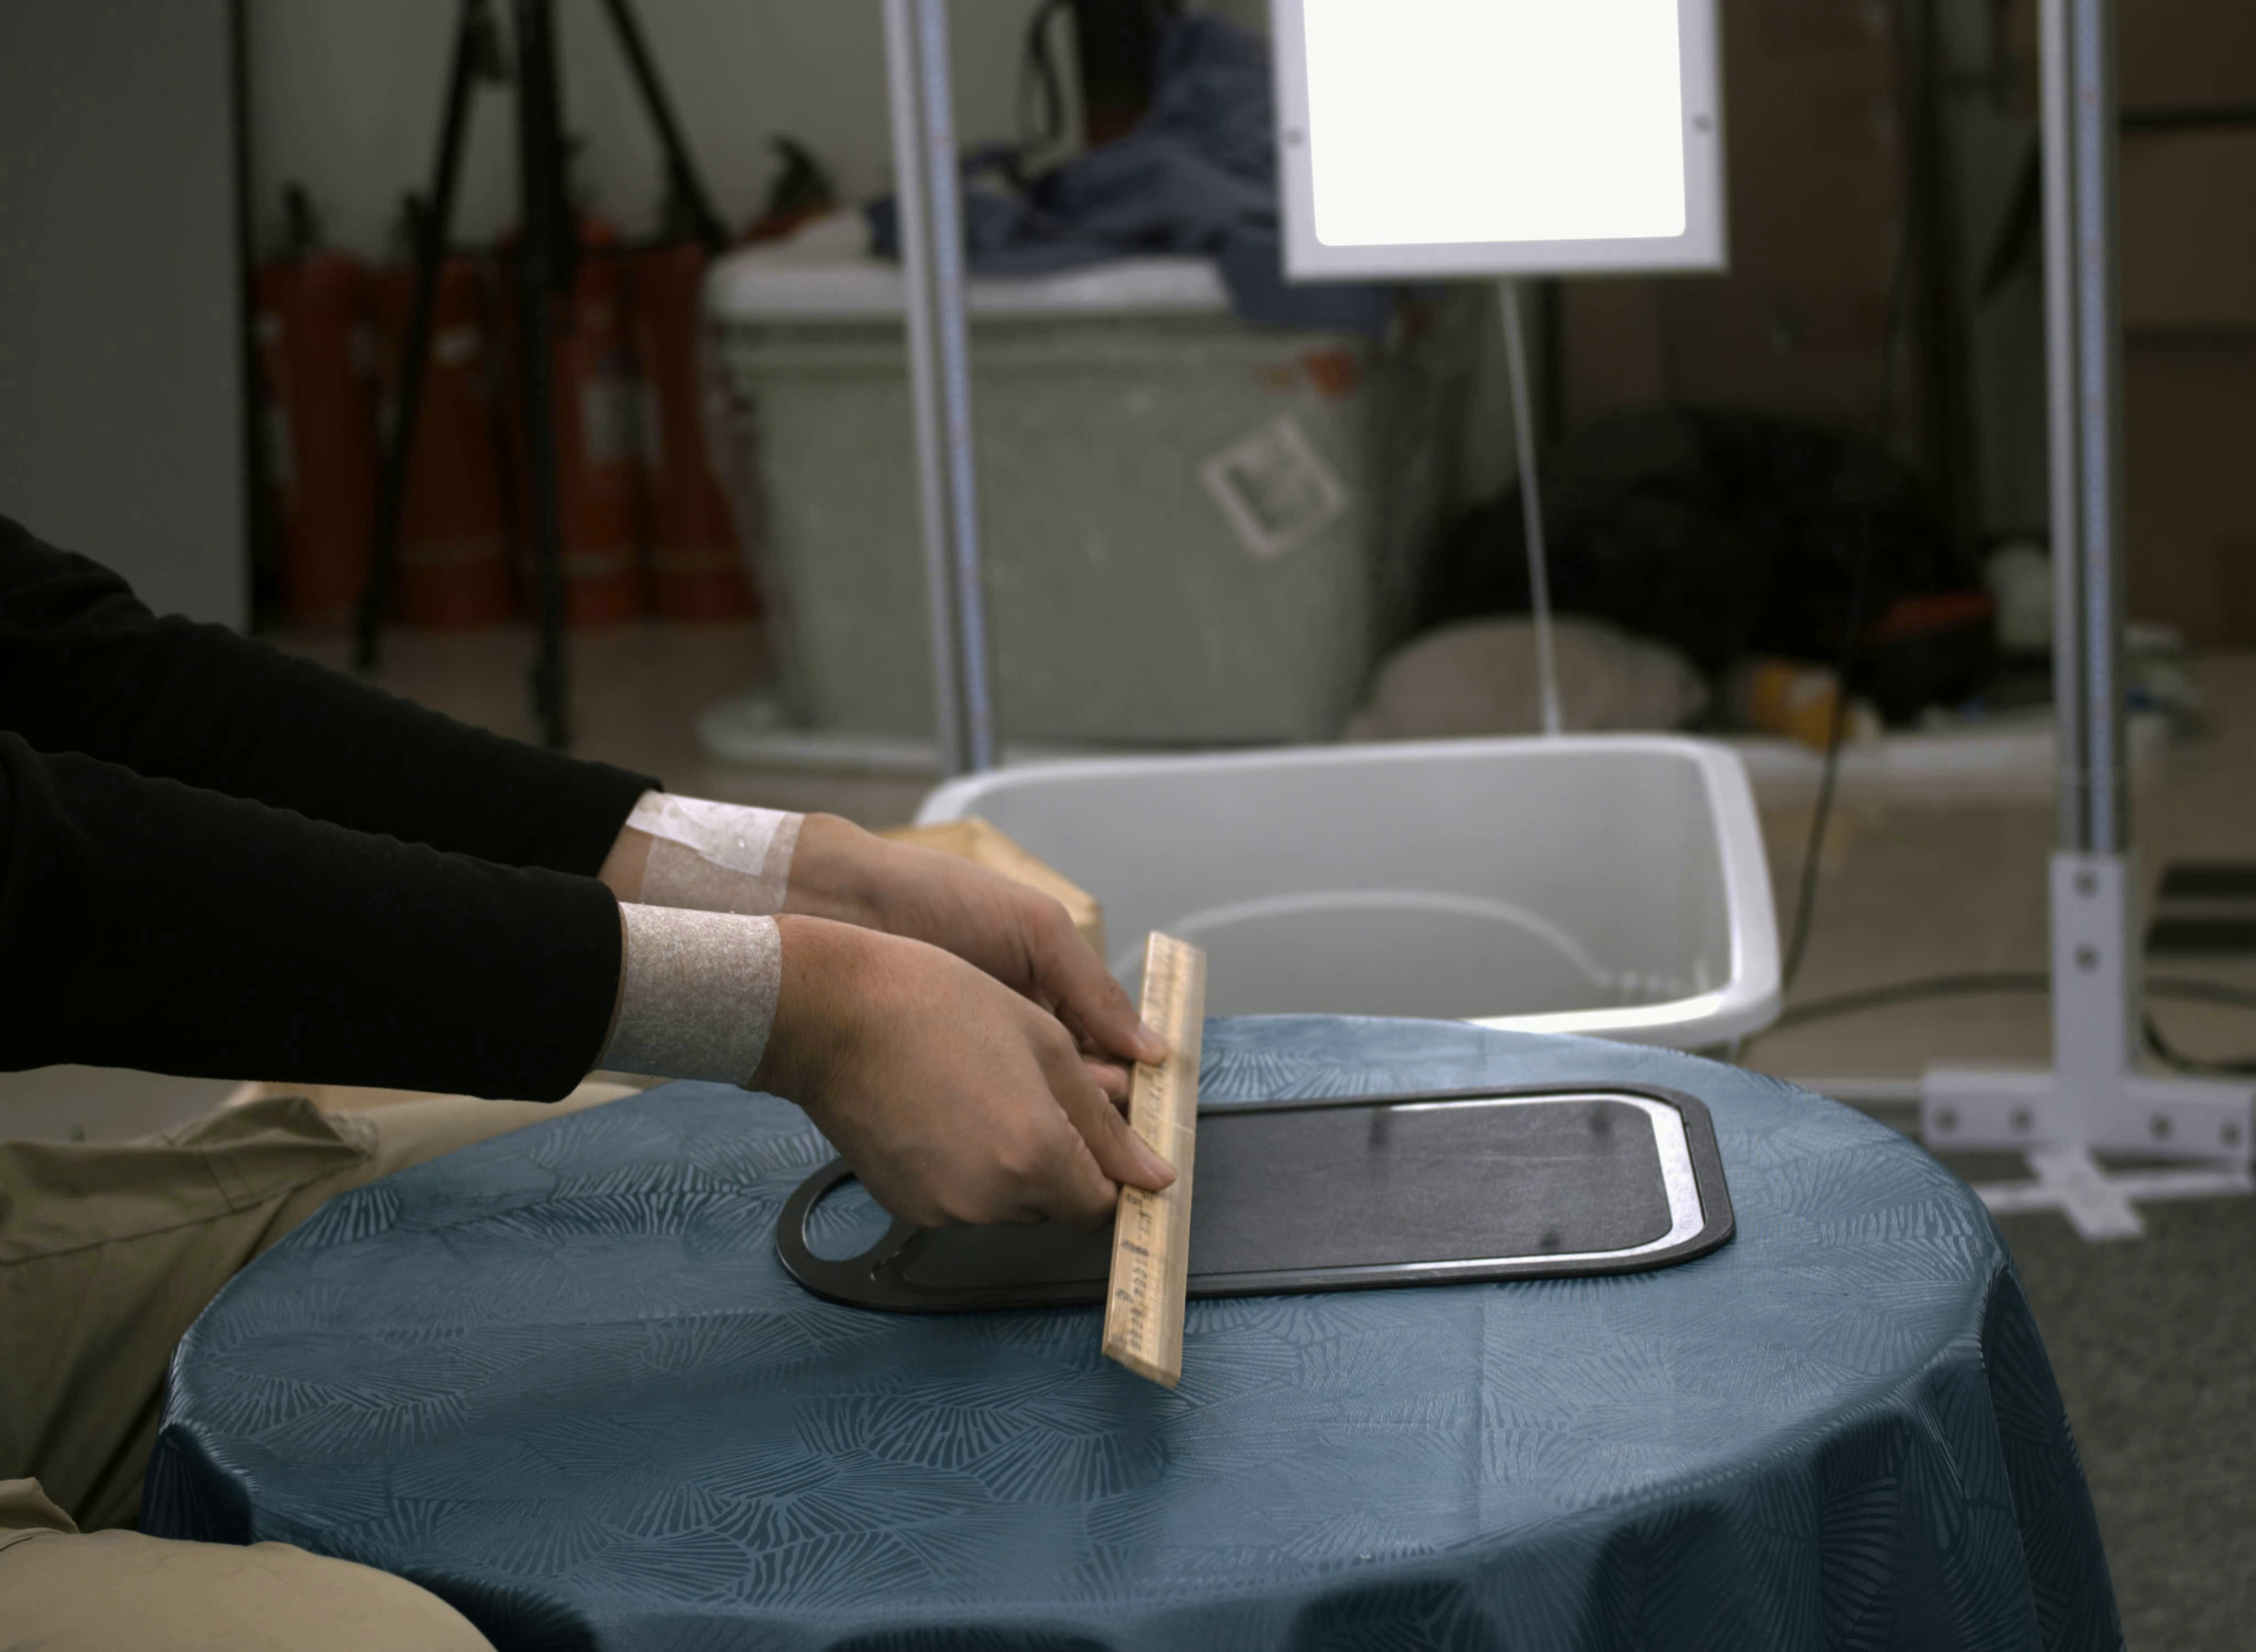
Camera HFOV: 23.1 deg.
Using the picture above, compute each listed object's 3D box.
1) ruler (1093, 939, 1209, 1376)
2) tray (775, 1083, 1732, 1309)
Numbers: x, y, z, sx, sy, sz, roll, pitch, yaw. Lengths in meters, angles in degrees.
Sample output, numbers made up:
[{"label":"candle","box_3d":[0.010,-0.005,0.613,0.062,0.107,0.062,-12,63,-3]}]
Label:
[{"label":"ruler","box_3d":[0.010,0.102,1.866,0.027,0.006,0.498,26,12,-3]},{"label":"tray","box_3d":[0.041,0.124,1.878,0.326,0.010,0.210,-4,14,6]}]
